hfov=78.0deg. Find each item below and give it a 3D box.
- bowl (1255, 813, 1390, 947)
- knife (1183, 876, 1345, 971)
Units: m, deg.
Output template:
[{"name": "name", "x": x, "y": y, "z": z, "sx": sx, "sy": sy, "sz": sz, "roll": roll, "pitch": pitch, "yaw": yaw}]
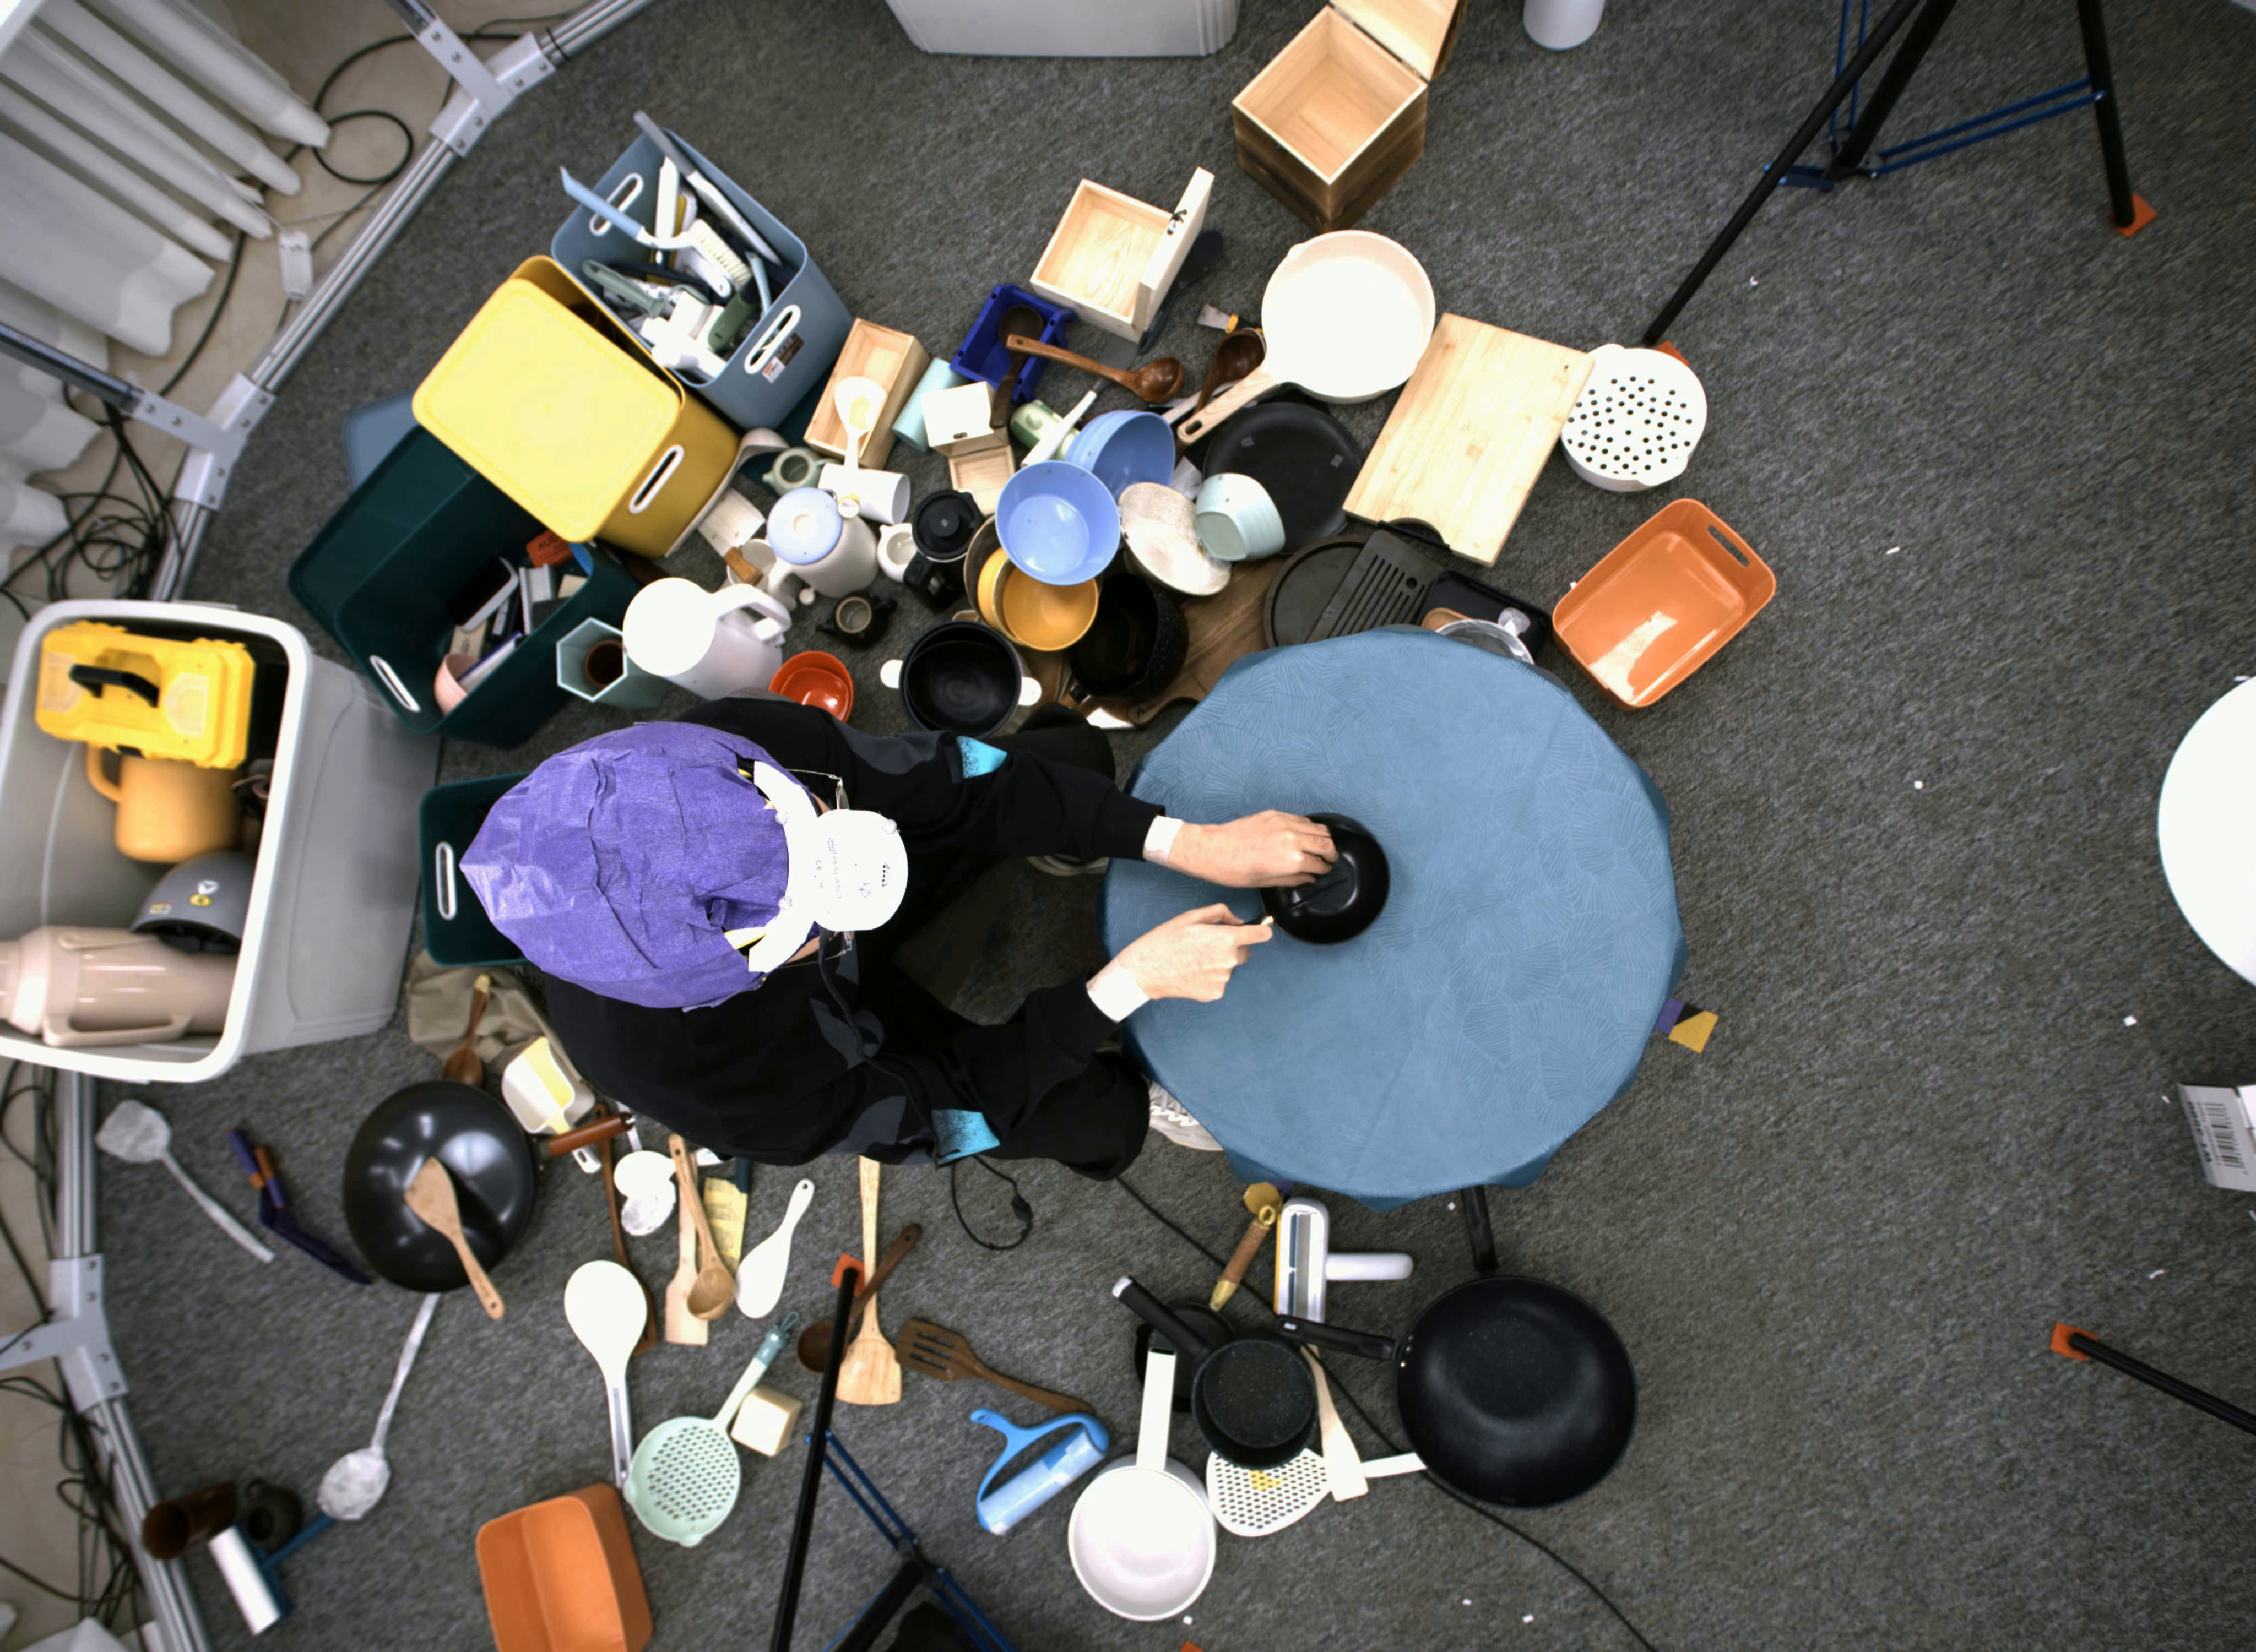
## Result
[{"name": "bowl", "x": 0.205, "y": 0.056, "z": 1.451, "sx": 0.141, "sy": 0.049, "sz": 0.139, "roll": -1, "pitch": 88, "yaw": 14}, {"name": "knife", "x": 0.144, "y": 0.094, "z": 1.417, "sx": 0.222, "sy": 0.026, "sz": 0.017, "roll": -26, "pitch": 90, "yaw": -27}]
